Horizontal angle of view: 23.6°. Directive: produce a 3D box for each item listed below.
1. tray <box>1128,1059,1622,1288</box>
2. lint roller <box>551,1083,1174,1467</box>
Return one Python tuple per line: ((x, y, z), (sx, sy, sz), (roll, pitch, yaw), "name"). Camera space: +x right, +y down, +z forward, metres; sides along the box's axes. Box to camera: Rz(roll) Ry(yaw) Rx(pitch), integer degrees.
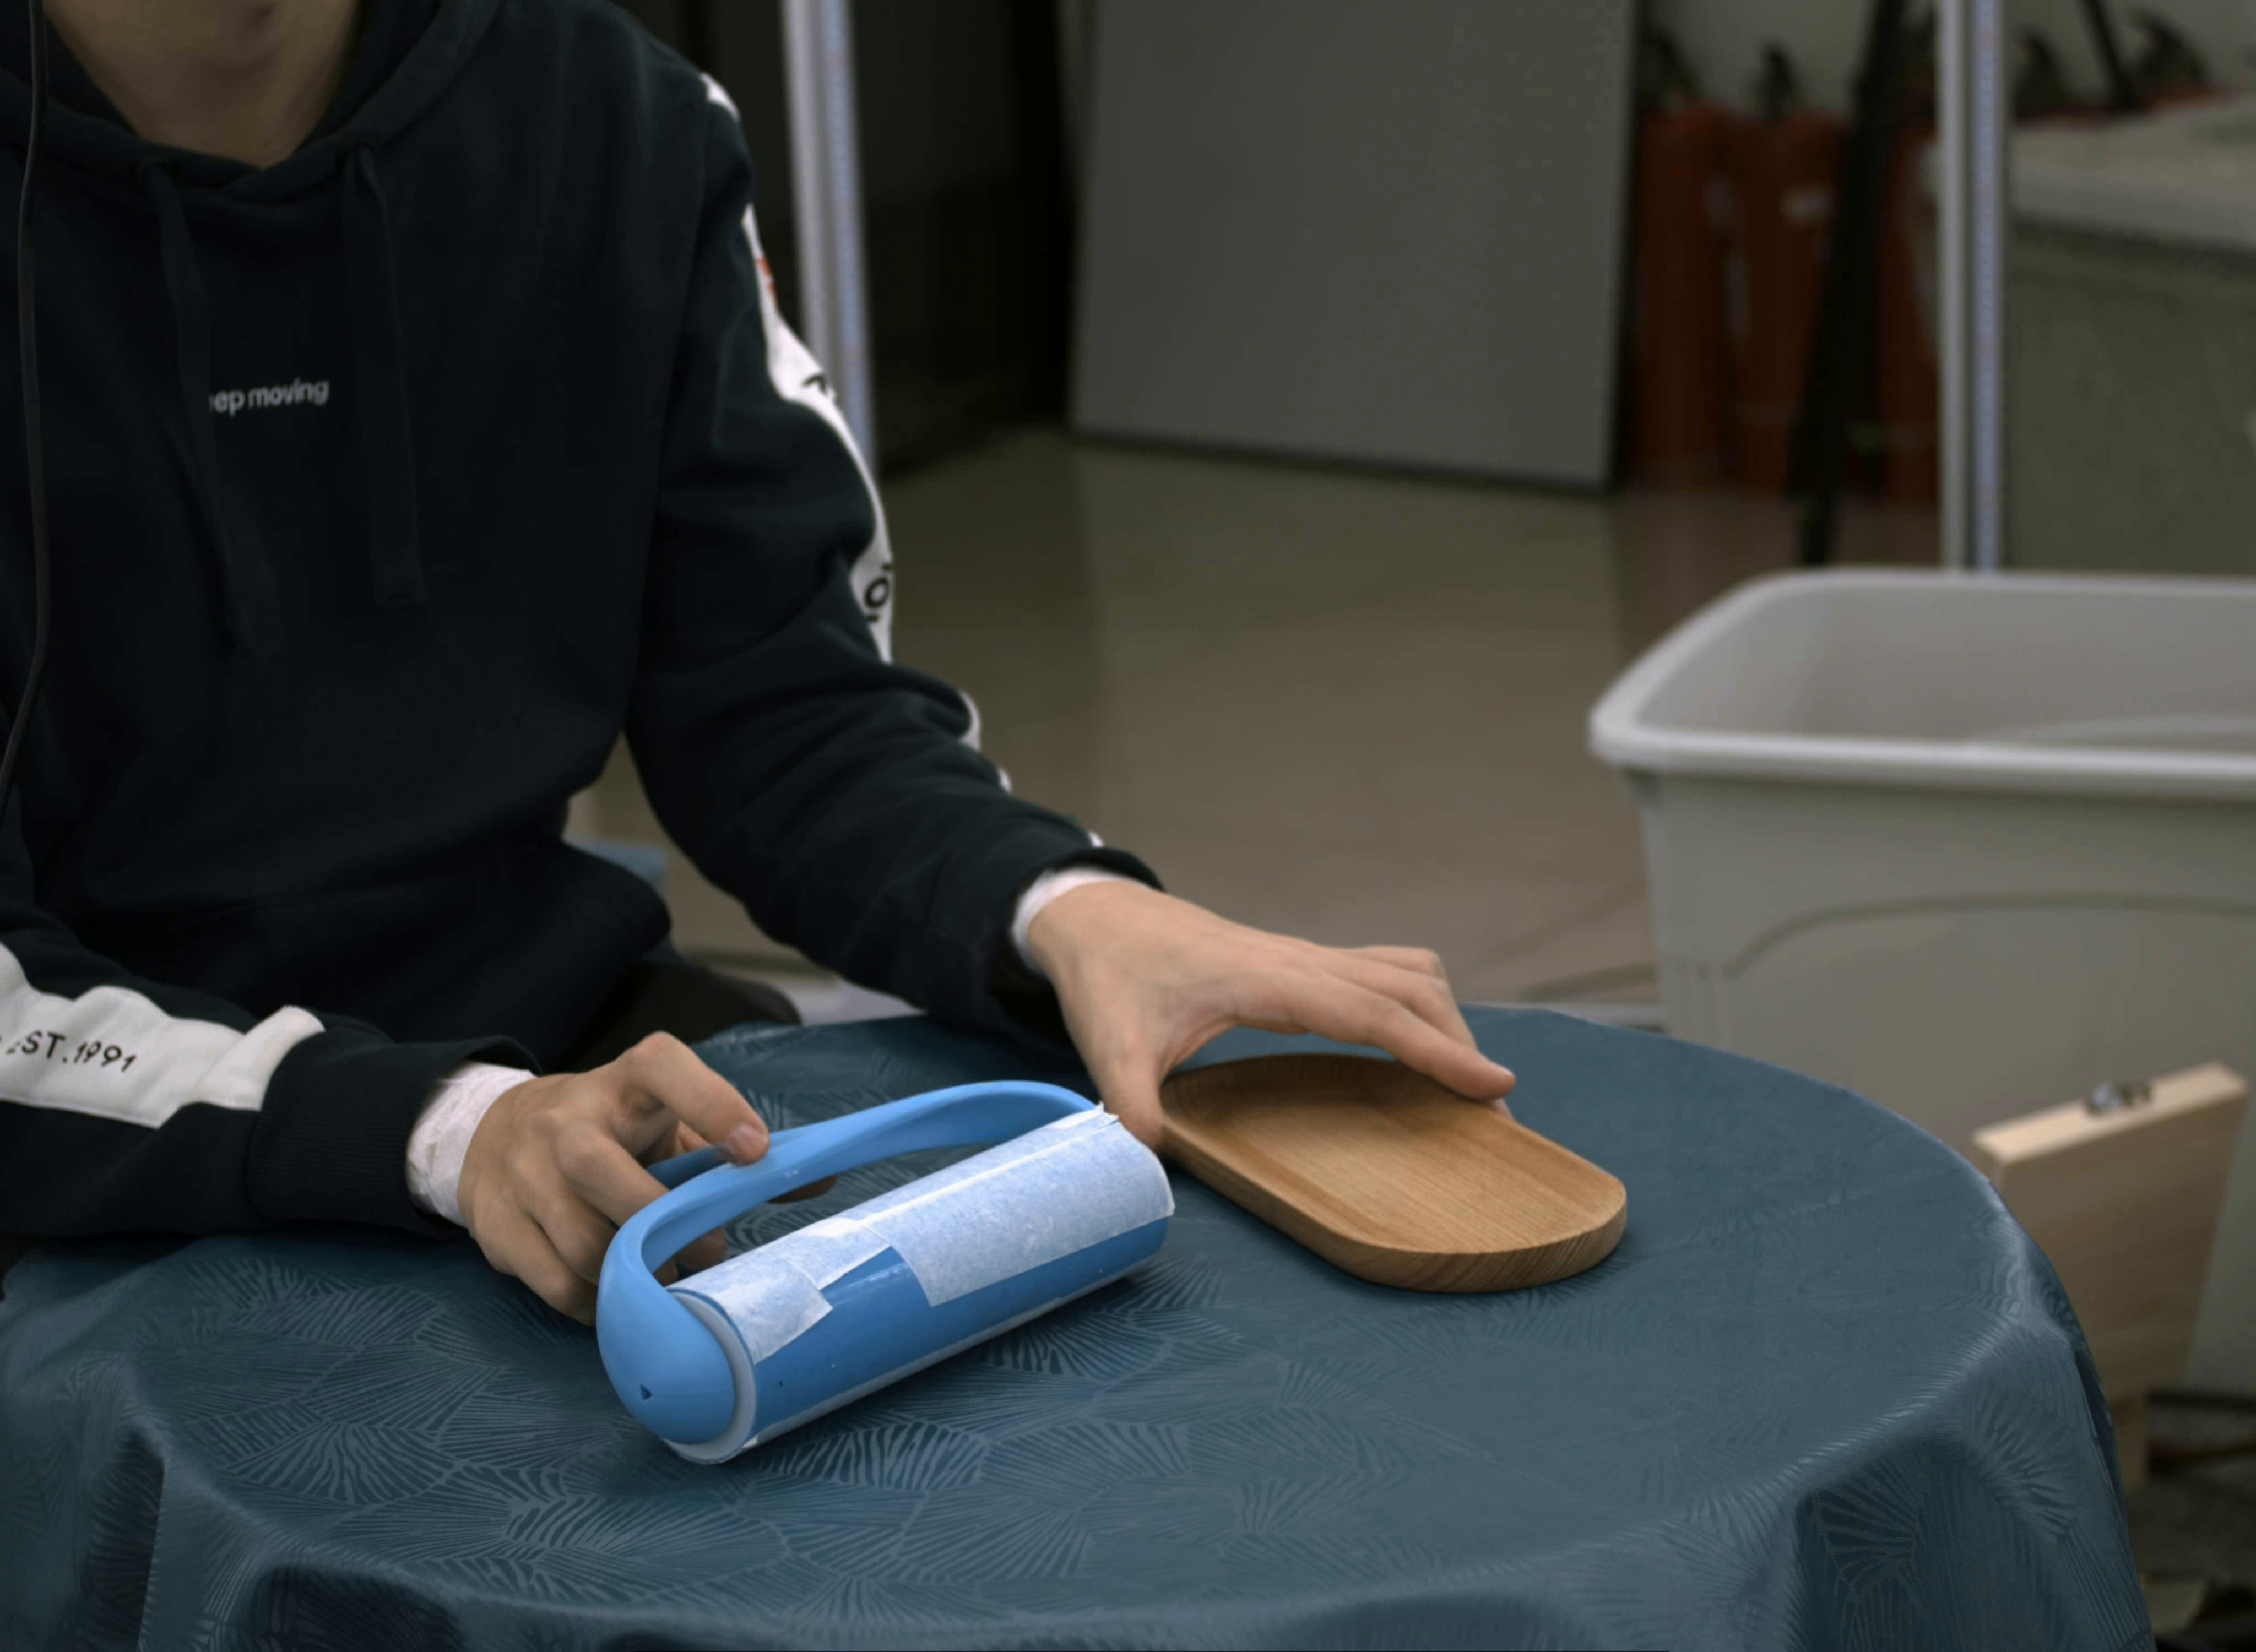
((0.078, 0.112, 1.754), (0.099, 0.020, 0.233), (-9, 13, -23), "tray")
((-0.111, 0.129, 1.652), (0.181, 0.068, 0.225), (7, 19, 36), "lint roller")
